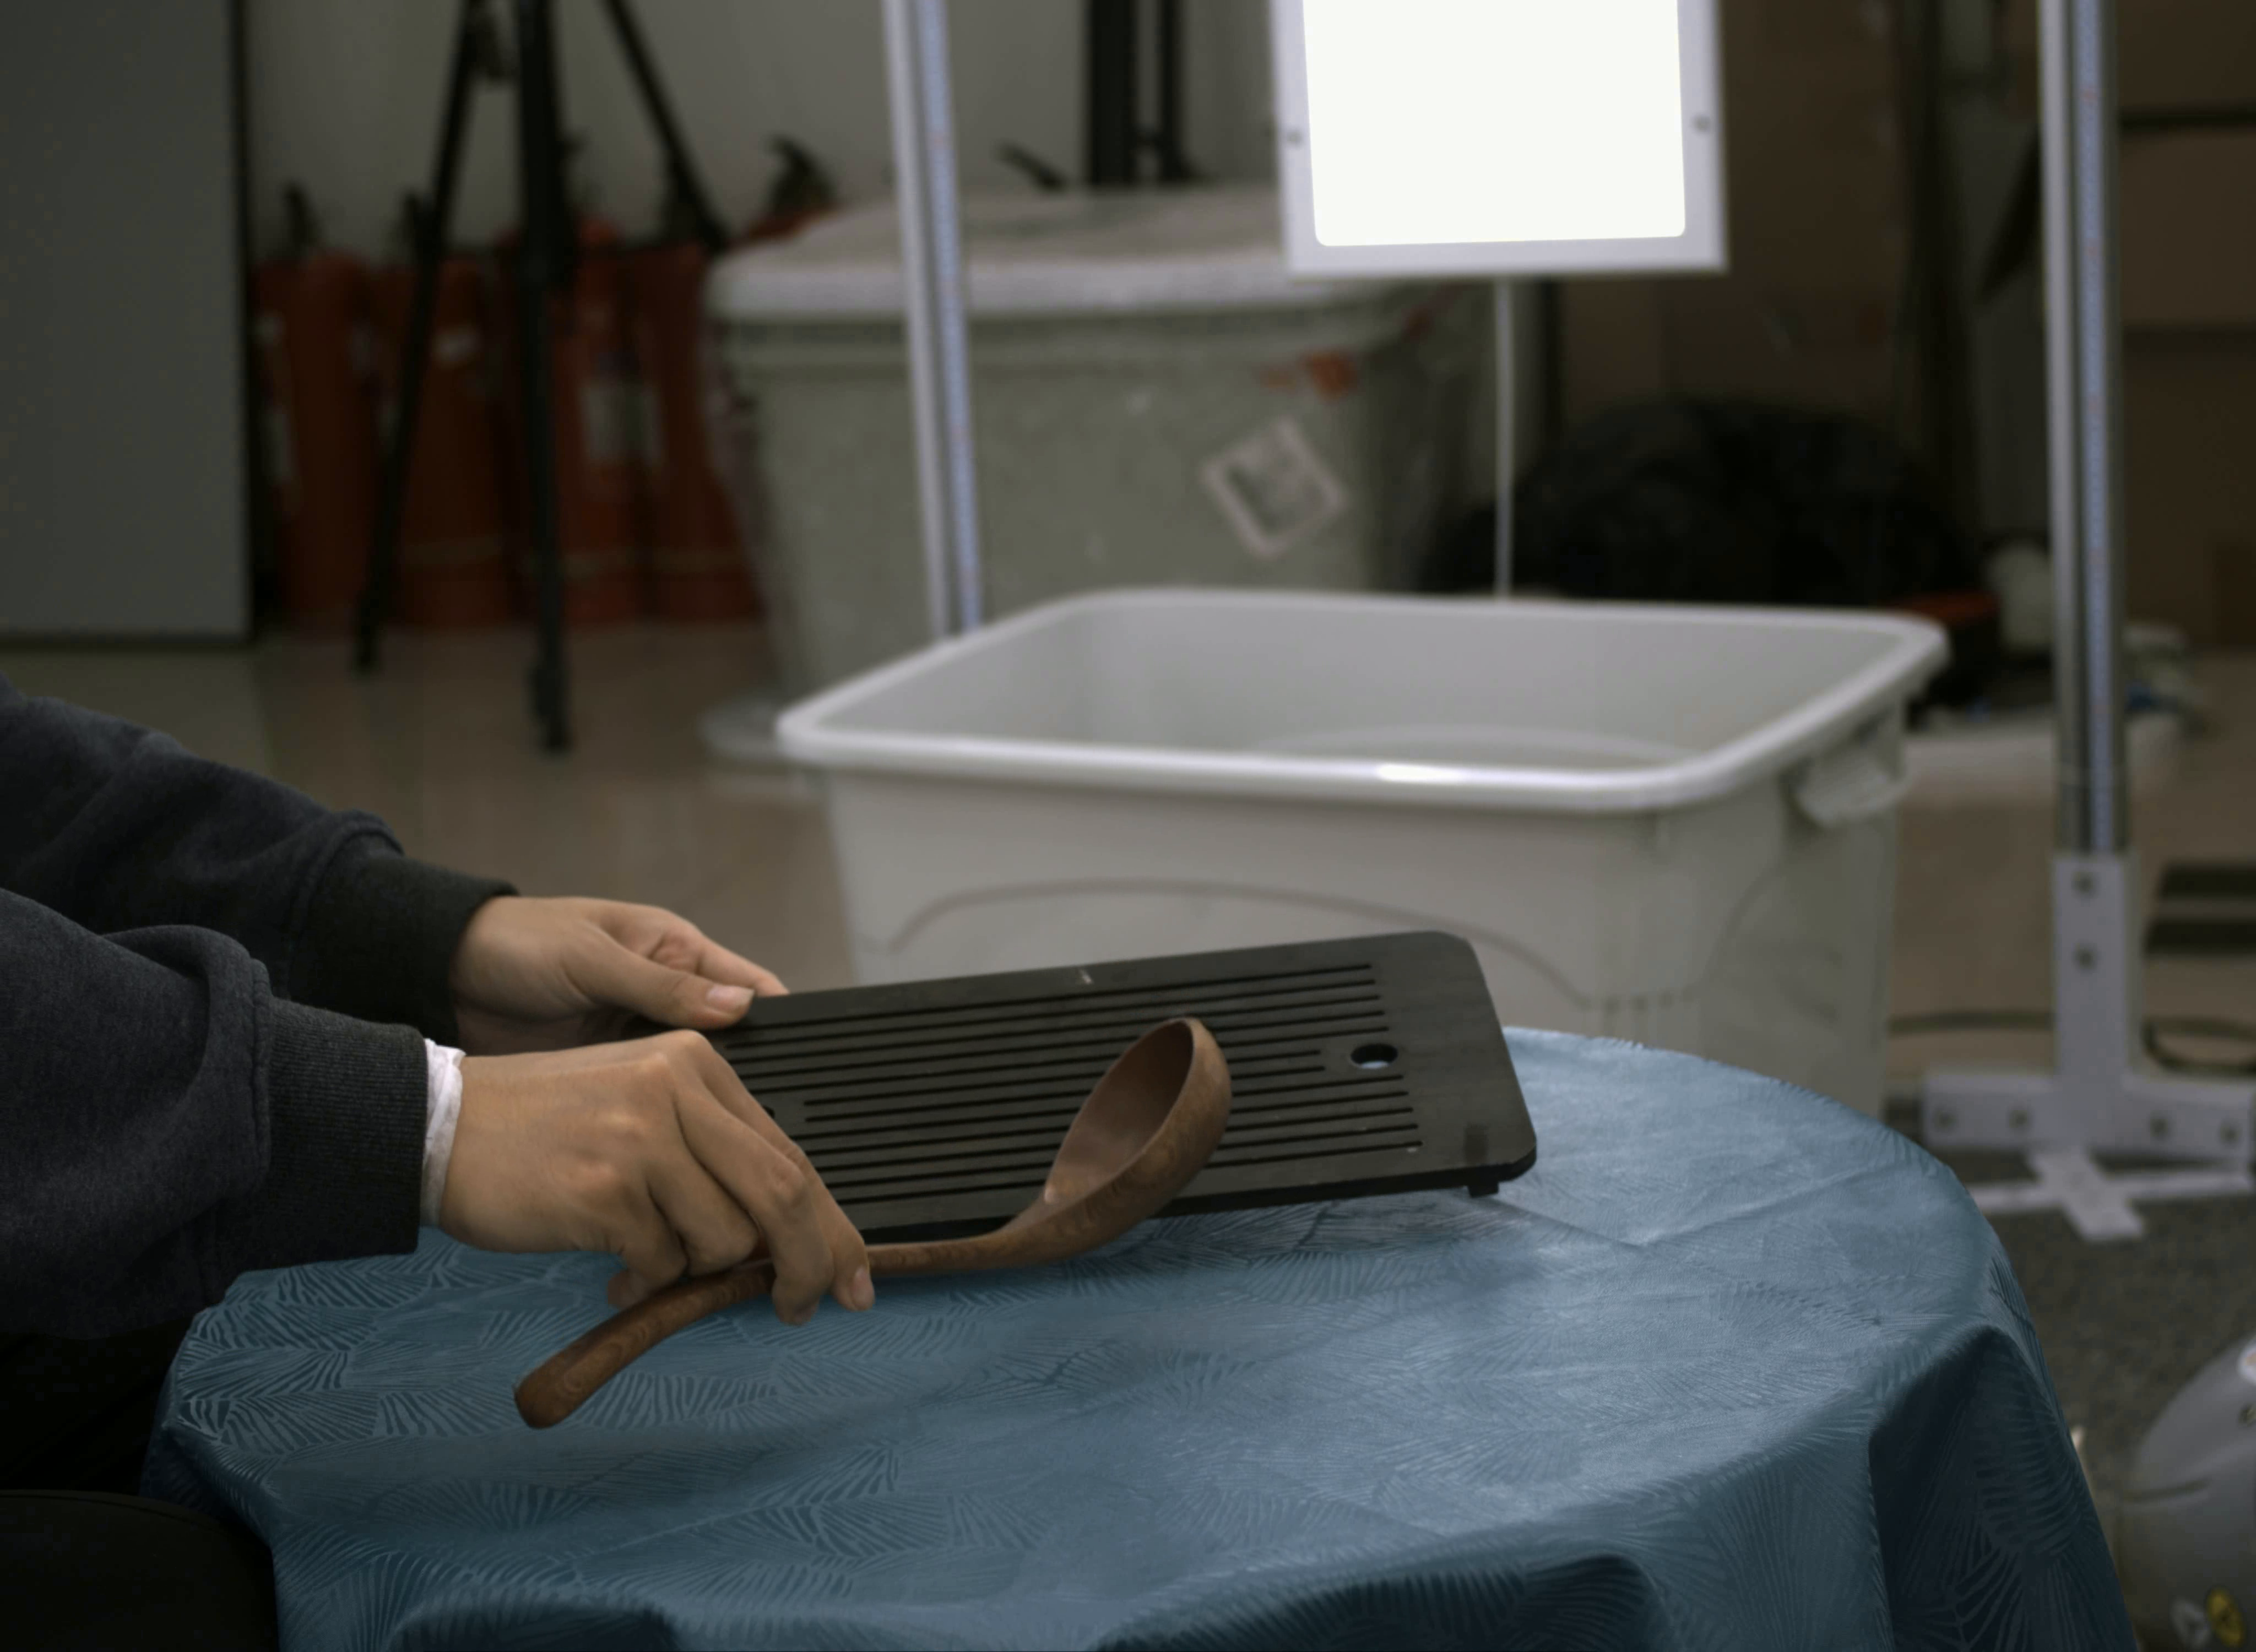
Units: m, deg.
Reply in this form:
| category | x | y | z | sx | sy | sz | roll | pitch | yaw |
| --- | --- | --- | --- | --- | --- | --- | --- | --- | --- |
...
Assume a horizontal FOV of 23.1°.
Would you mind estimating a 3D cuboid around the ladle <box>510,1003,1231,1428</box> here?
| category | x | y | z | sx | sy | sz | roll | pitch | yaw |
| --- | --- | --- | --- | --- | --- | --- | --- | --- | --- |
| ladle | -0.080 | 0.117 | 1.692 | 0.255 | 0.065 | 0.078 | -16 | -6 | -26 |

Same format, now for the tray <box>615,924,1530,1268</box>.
| category | x | y | z | sx | sy | sz | roll | pitch | yaw |
| --- | --- | --- | --- | --- | --- | --- | --- | --- | --- |
| tray | -0.023 | 0.092 | 1.889 | 0.305 | 0.019 | 0.170 | -6 | 26 | -1 |
